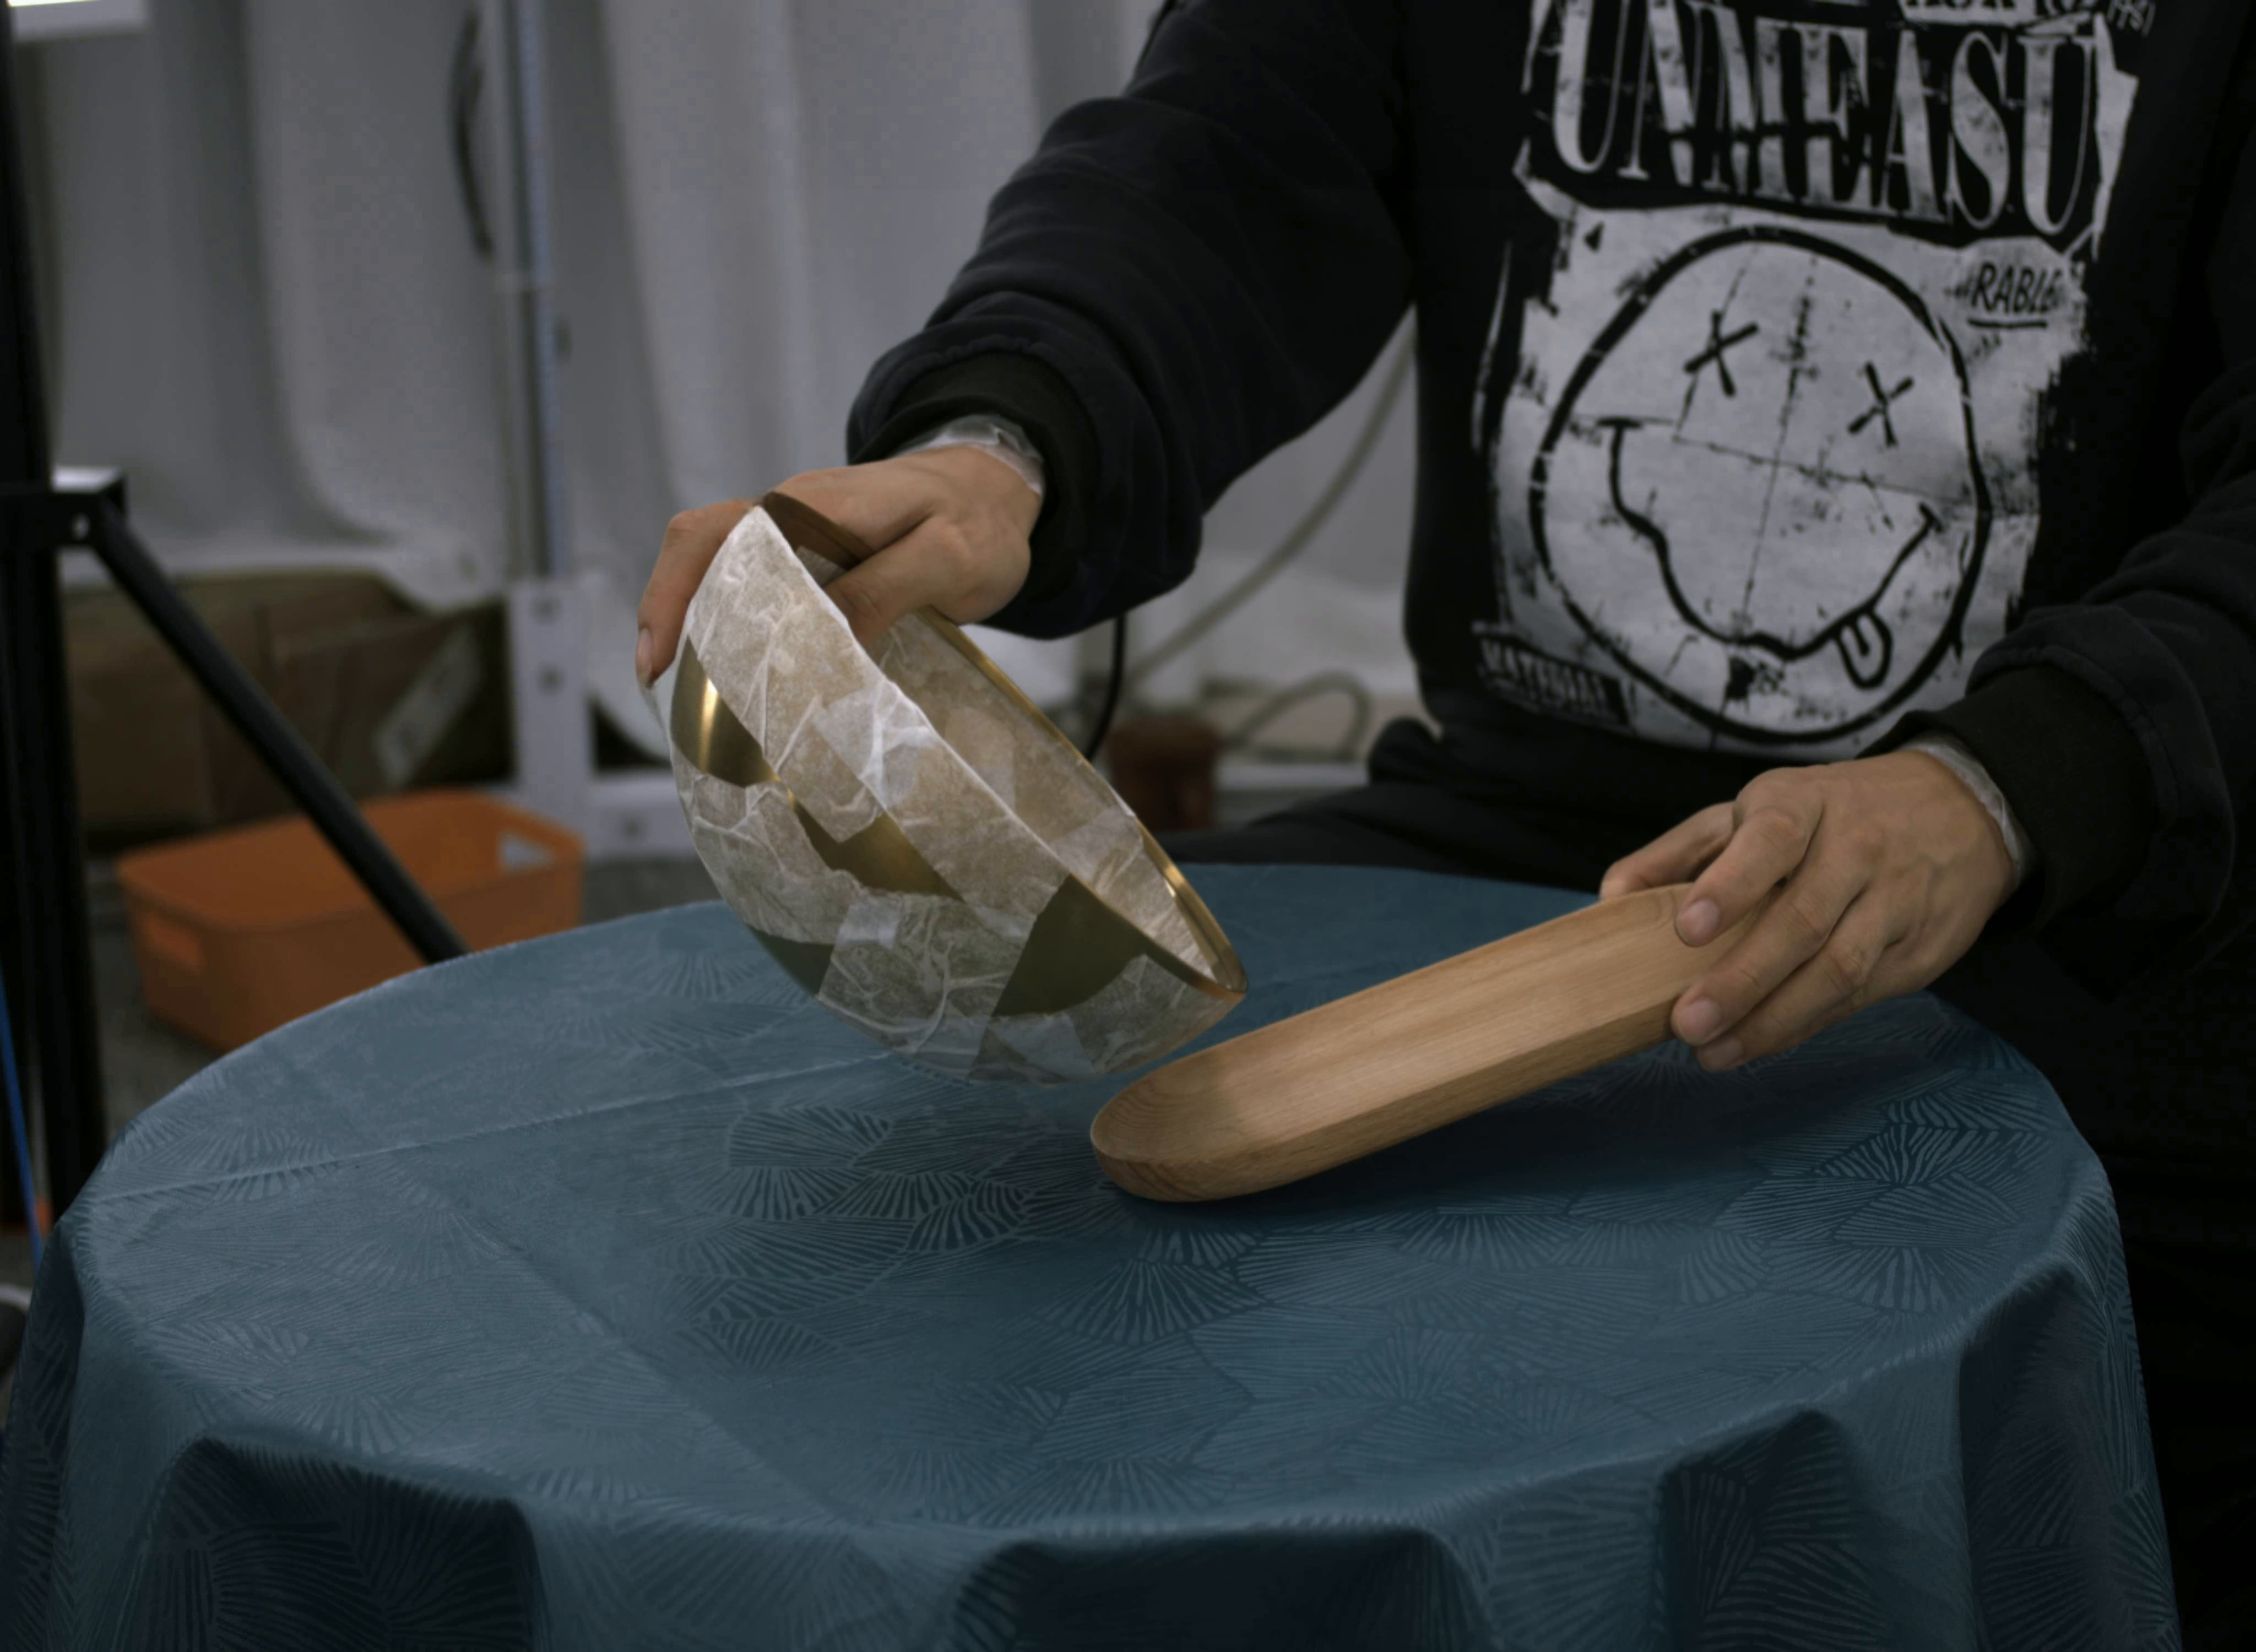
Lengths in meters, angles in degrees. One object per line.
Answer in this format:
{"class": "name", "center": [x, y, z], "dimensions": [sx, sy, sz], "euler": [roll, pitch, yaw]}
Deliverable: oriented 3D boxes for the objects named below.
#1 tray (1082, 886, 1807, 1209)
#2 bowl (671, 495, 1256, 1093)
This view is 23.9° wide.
{"class": "tray", "center": [0.096, 0.066, 1.580], "dimensions": [0.228, 0.020, 0.103], "euler": [-21, 15, -13]}
{"class": "bowl", "center": [-0.061, 0.009, 1.546], "dimensions": [0.095, 0.212, 0.216], "euler": [-44, 15, 7]}
